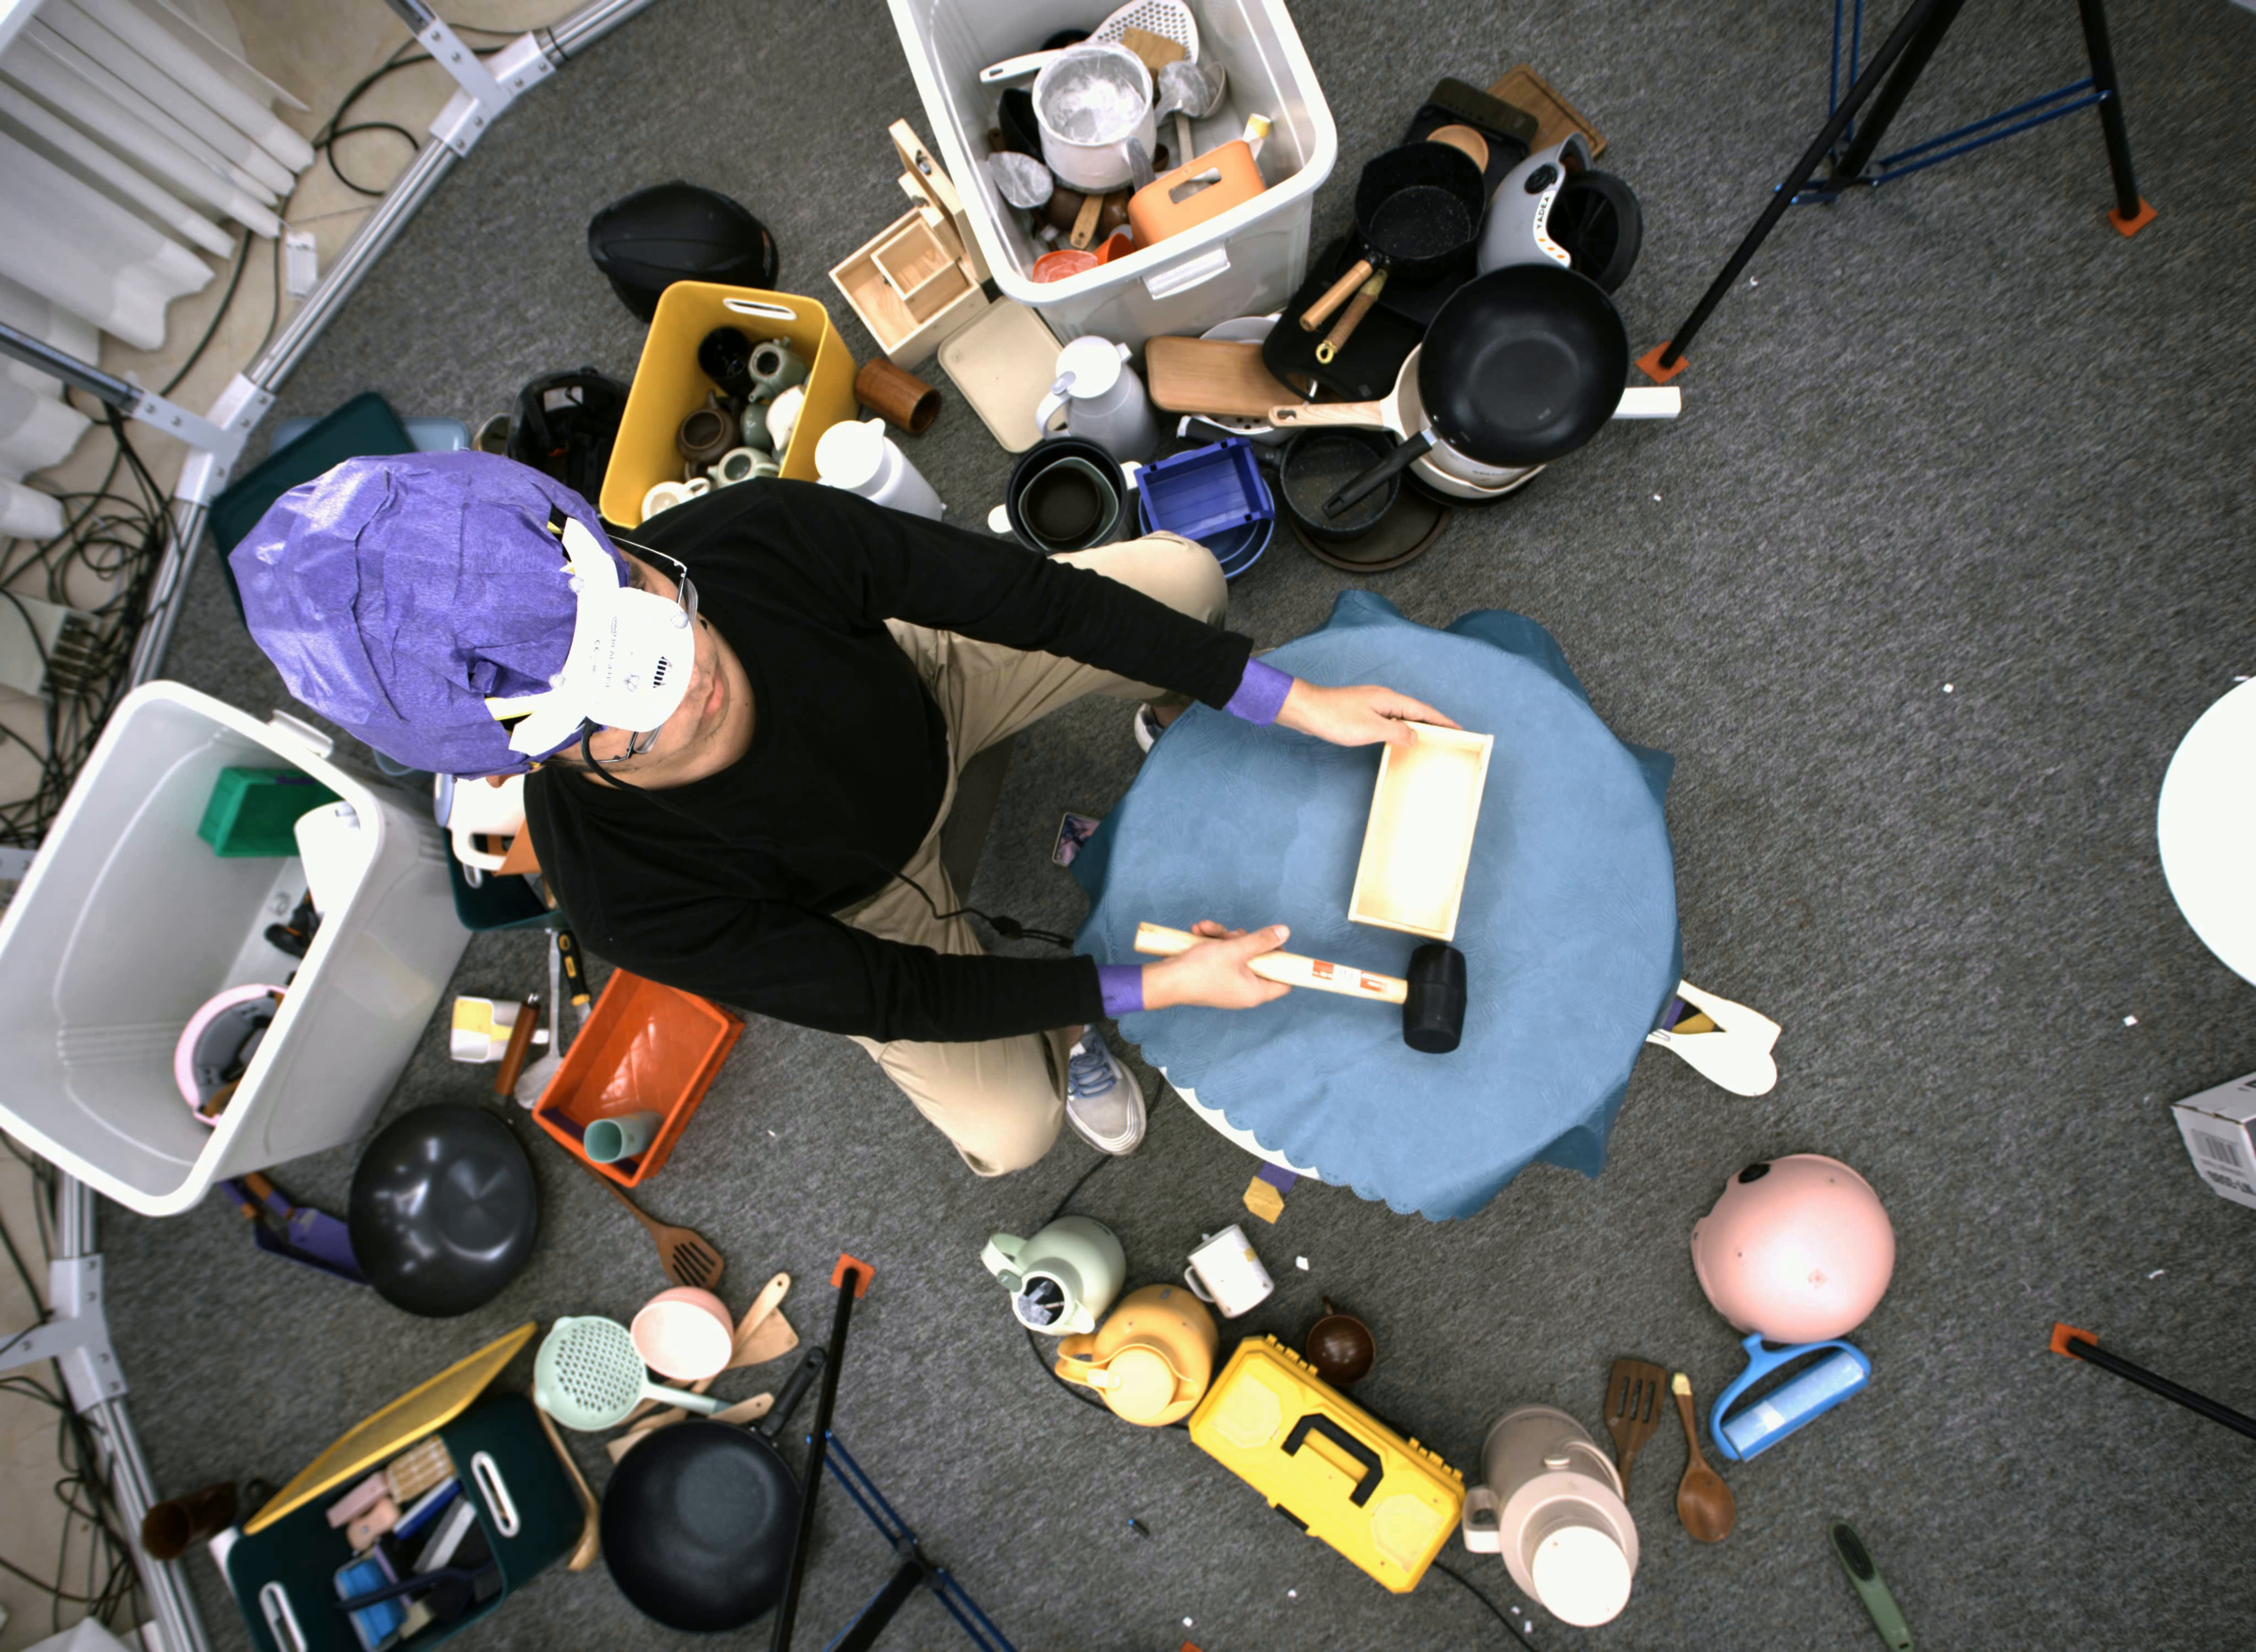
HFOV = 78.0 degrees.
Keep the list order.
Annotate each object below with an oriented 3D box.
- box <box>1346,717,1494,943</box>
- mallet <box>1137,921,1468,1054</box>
[{"bbox_3d":[0.300,0.004,1.418,0.108,0.080,0.211,12,89,12],"label":"box"},{"bbox_3d":[0.178,0.142,1.395,0.339,0.066,0.099,14,59,-2],"label":"mallet"}]
